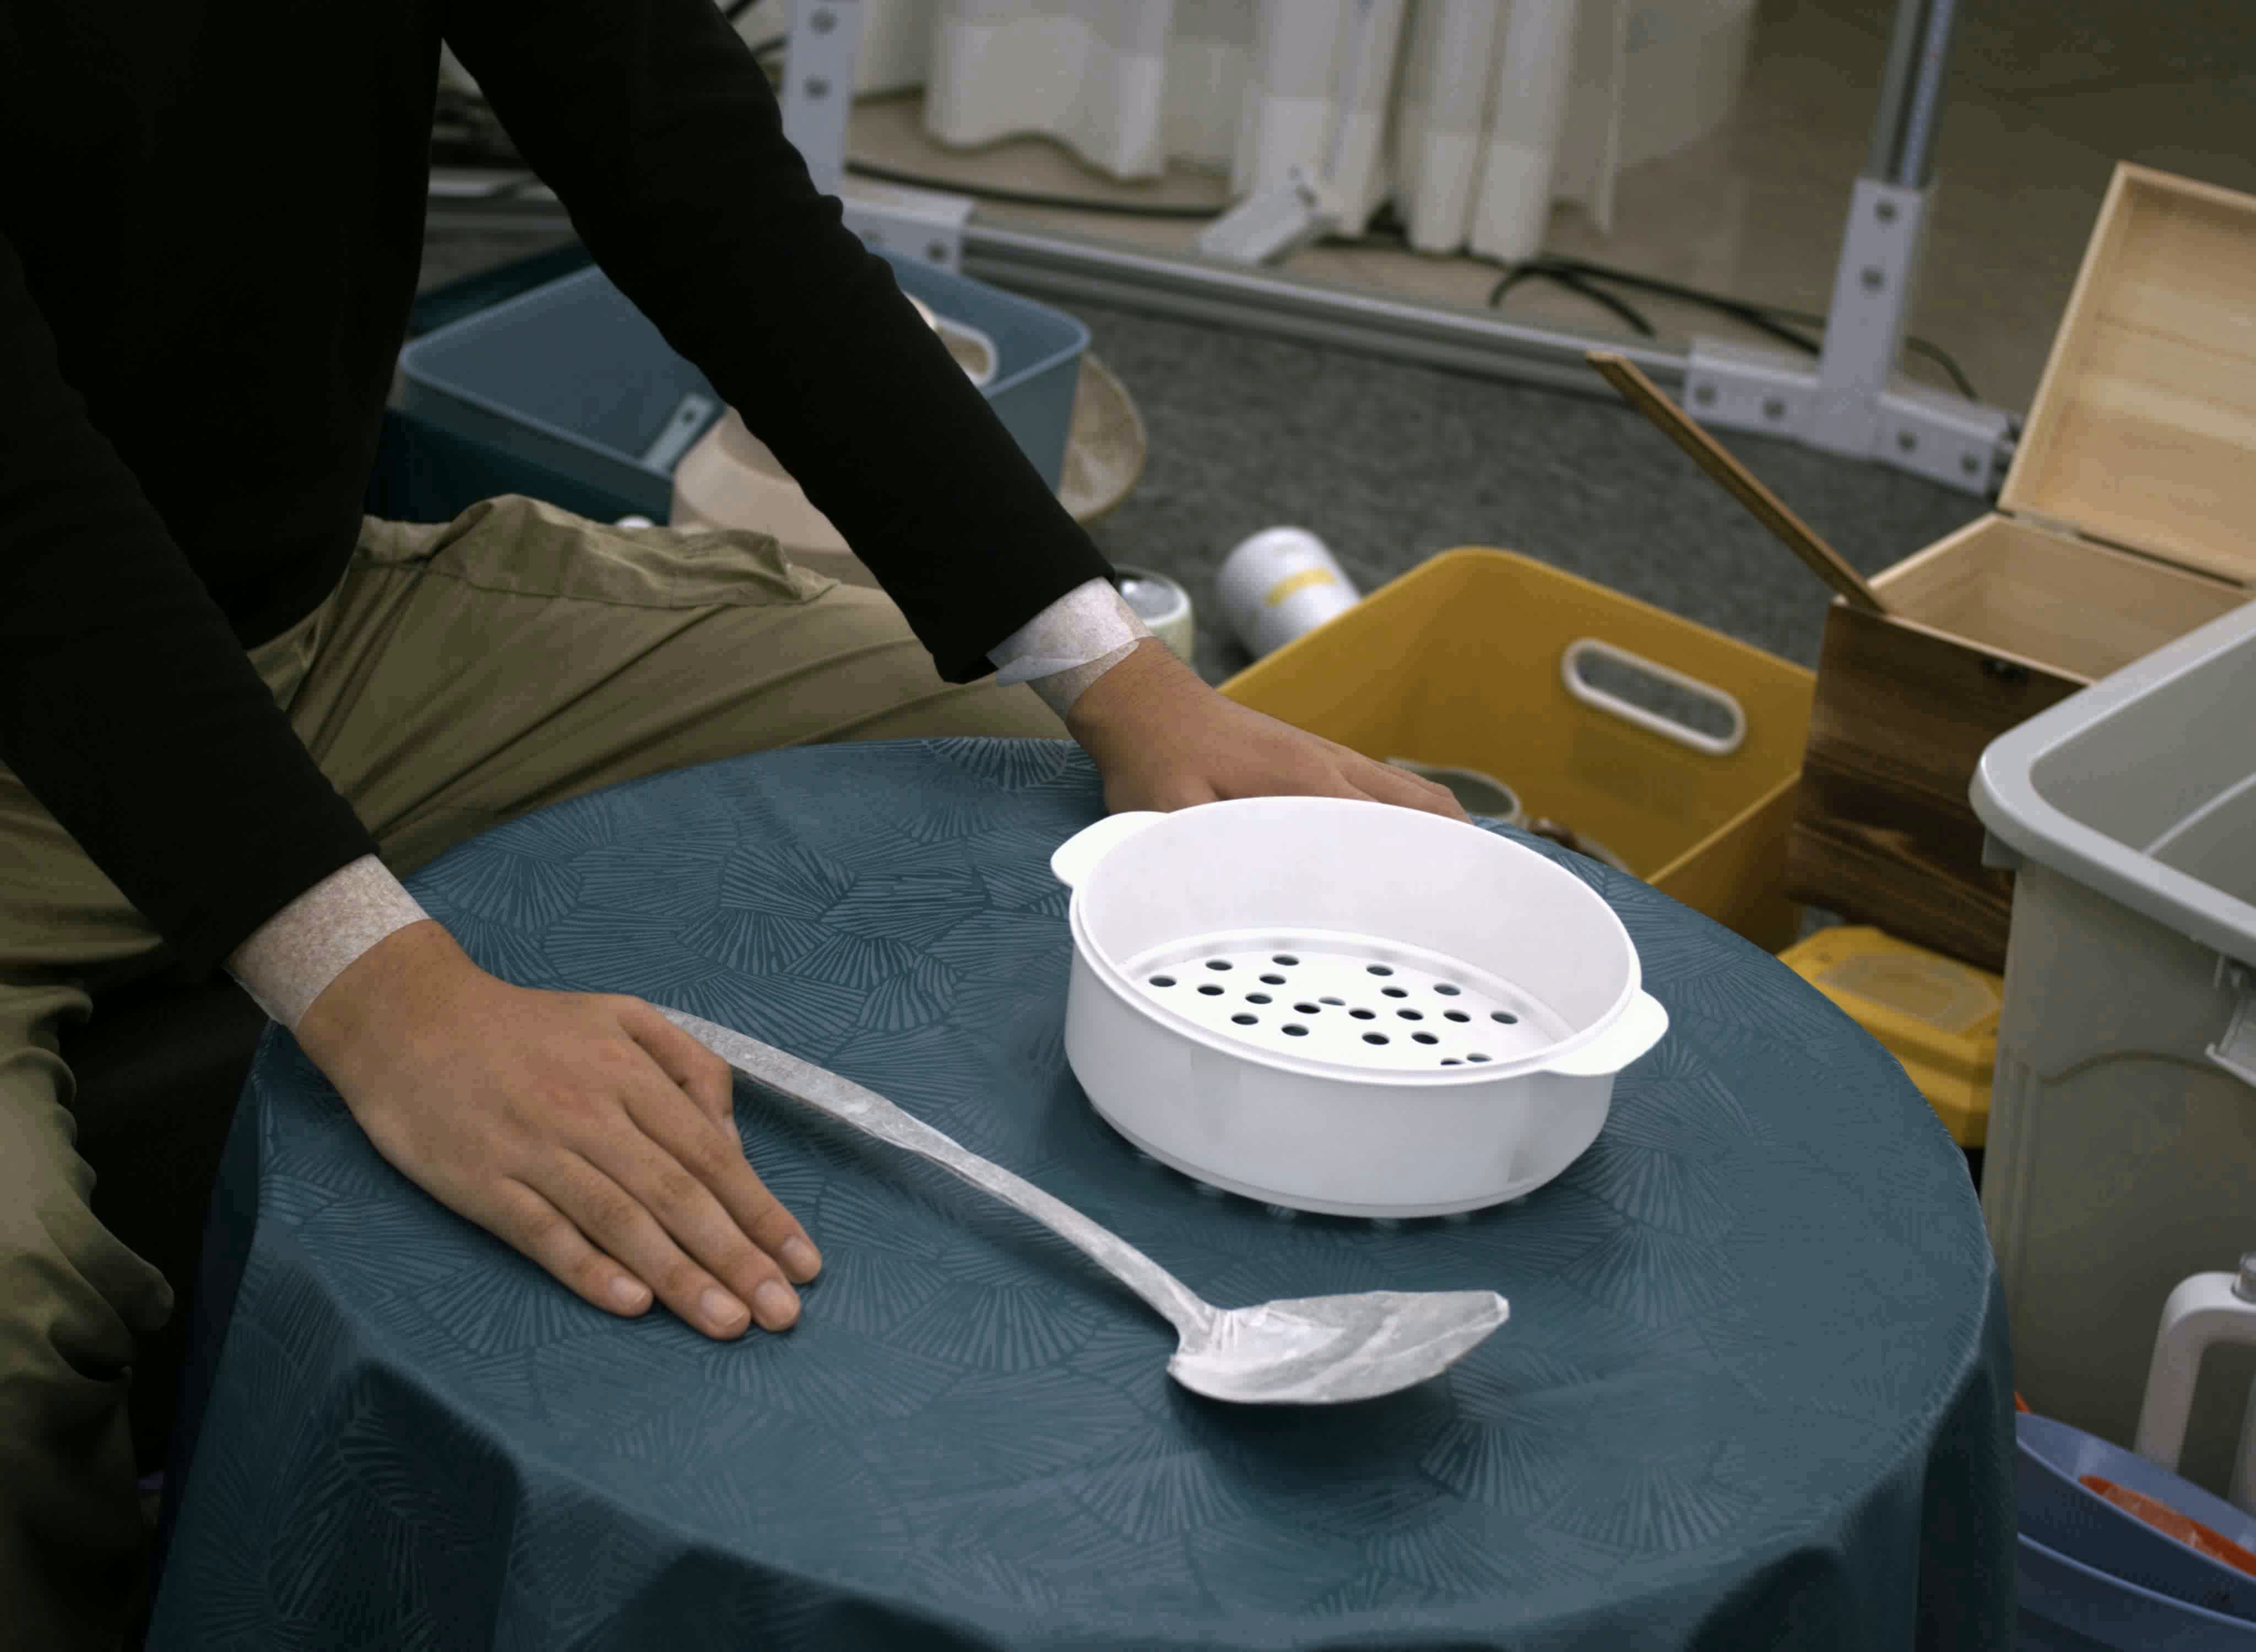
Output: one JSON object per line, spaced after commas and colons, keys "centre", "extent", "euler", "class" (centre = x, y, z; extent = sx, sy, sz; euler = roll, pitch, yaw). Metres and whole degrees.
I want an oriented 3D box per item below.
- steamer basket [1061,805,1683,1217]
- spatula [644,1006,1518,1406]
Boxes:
{"centre": [0.080, 0.065, 1.859], "extent": [0.232, 0.069, 0.201], "euler": [20, 29, 27], "class": "steamer basket"}
{"centre": [-0.036, 0.117, 1.765], "extent": [0.367, 0.044, 0.098], "euler": [26, 34, 33], "class": "spatula"}
